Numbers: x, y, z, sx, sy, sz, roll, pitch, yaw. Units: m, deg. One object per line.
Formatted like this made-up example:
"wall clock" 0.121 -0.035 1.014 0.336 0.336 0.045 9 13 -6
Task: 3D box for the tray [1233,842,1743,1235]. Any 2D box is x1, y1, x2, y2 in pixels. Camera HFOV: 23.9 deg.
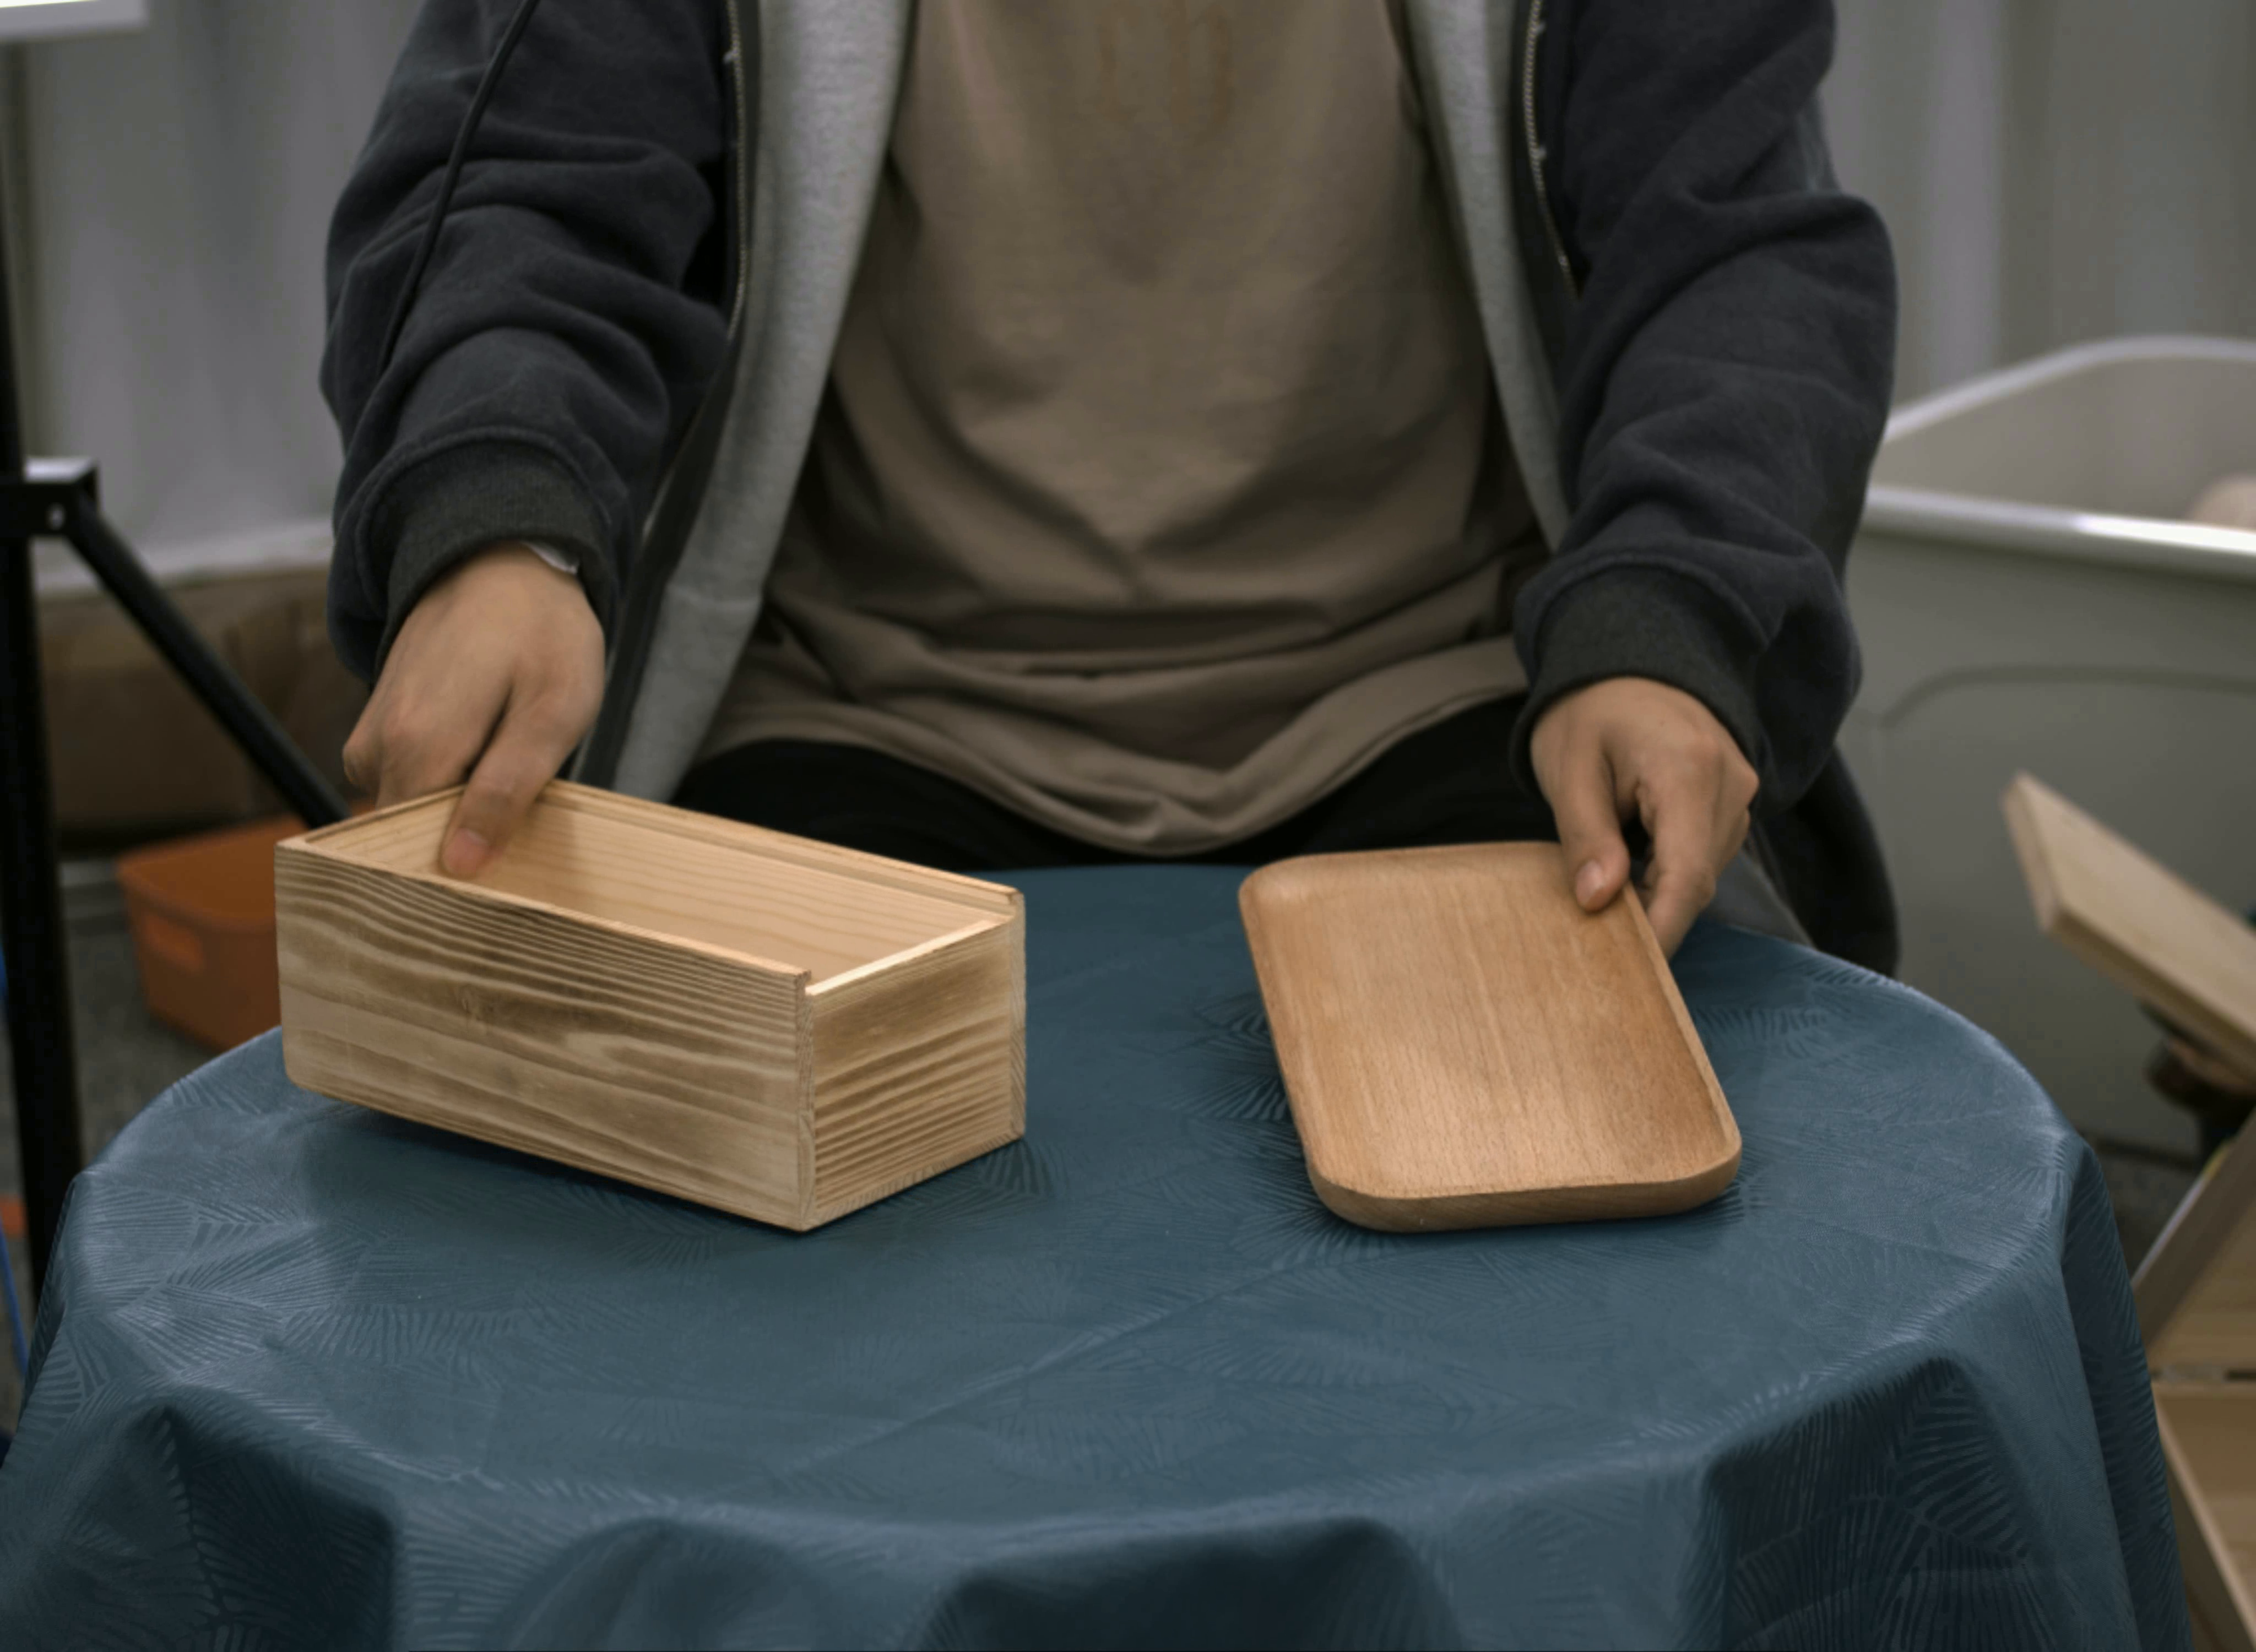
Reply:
"tray" 0.106 0.062 1.622 0.129 0.023 0.253 -1 22 -4

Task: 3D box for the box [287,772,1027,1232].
"box" -0.144 0.050 1.627 0.216 0.080 0.105 12 21 37
